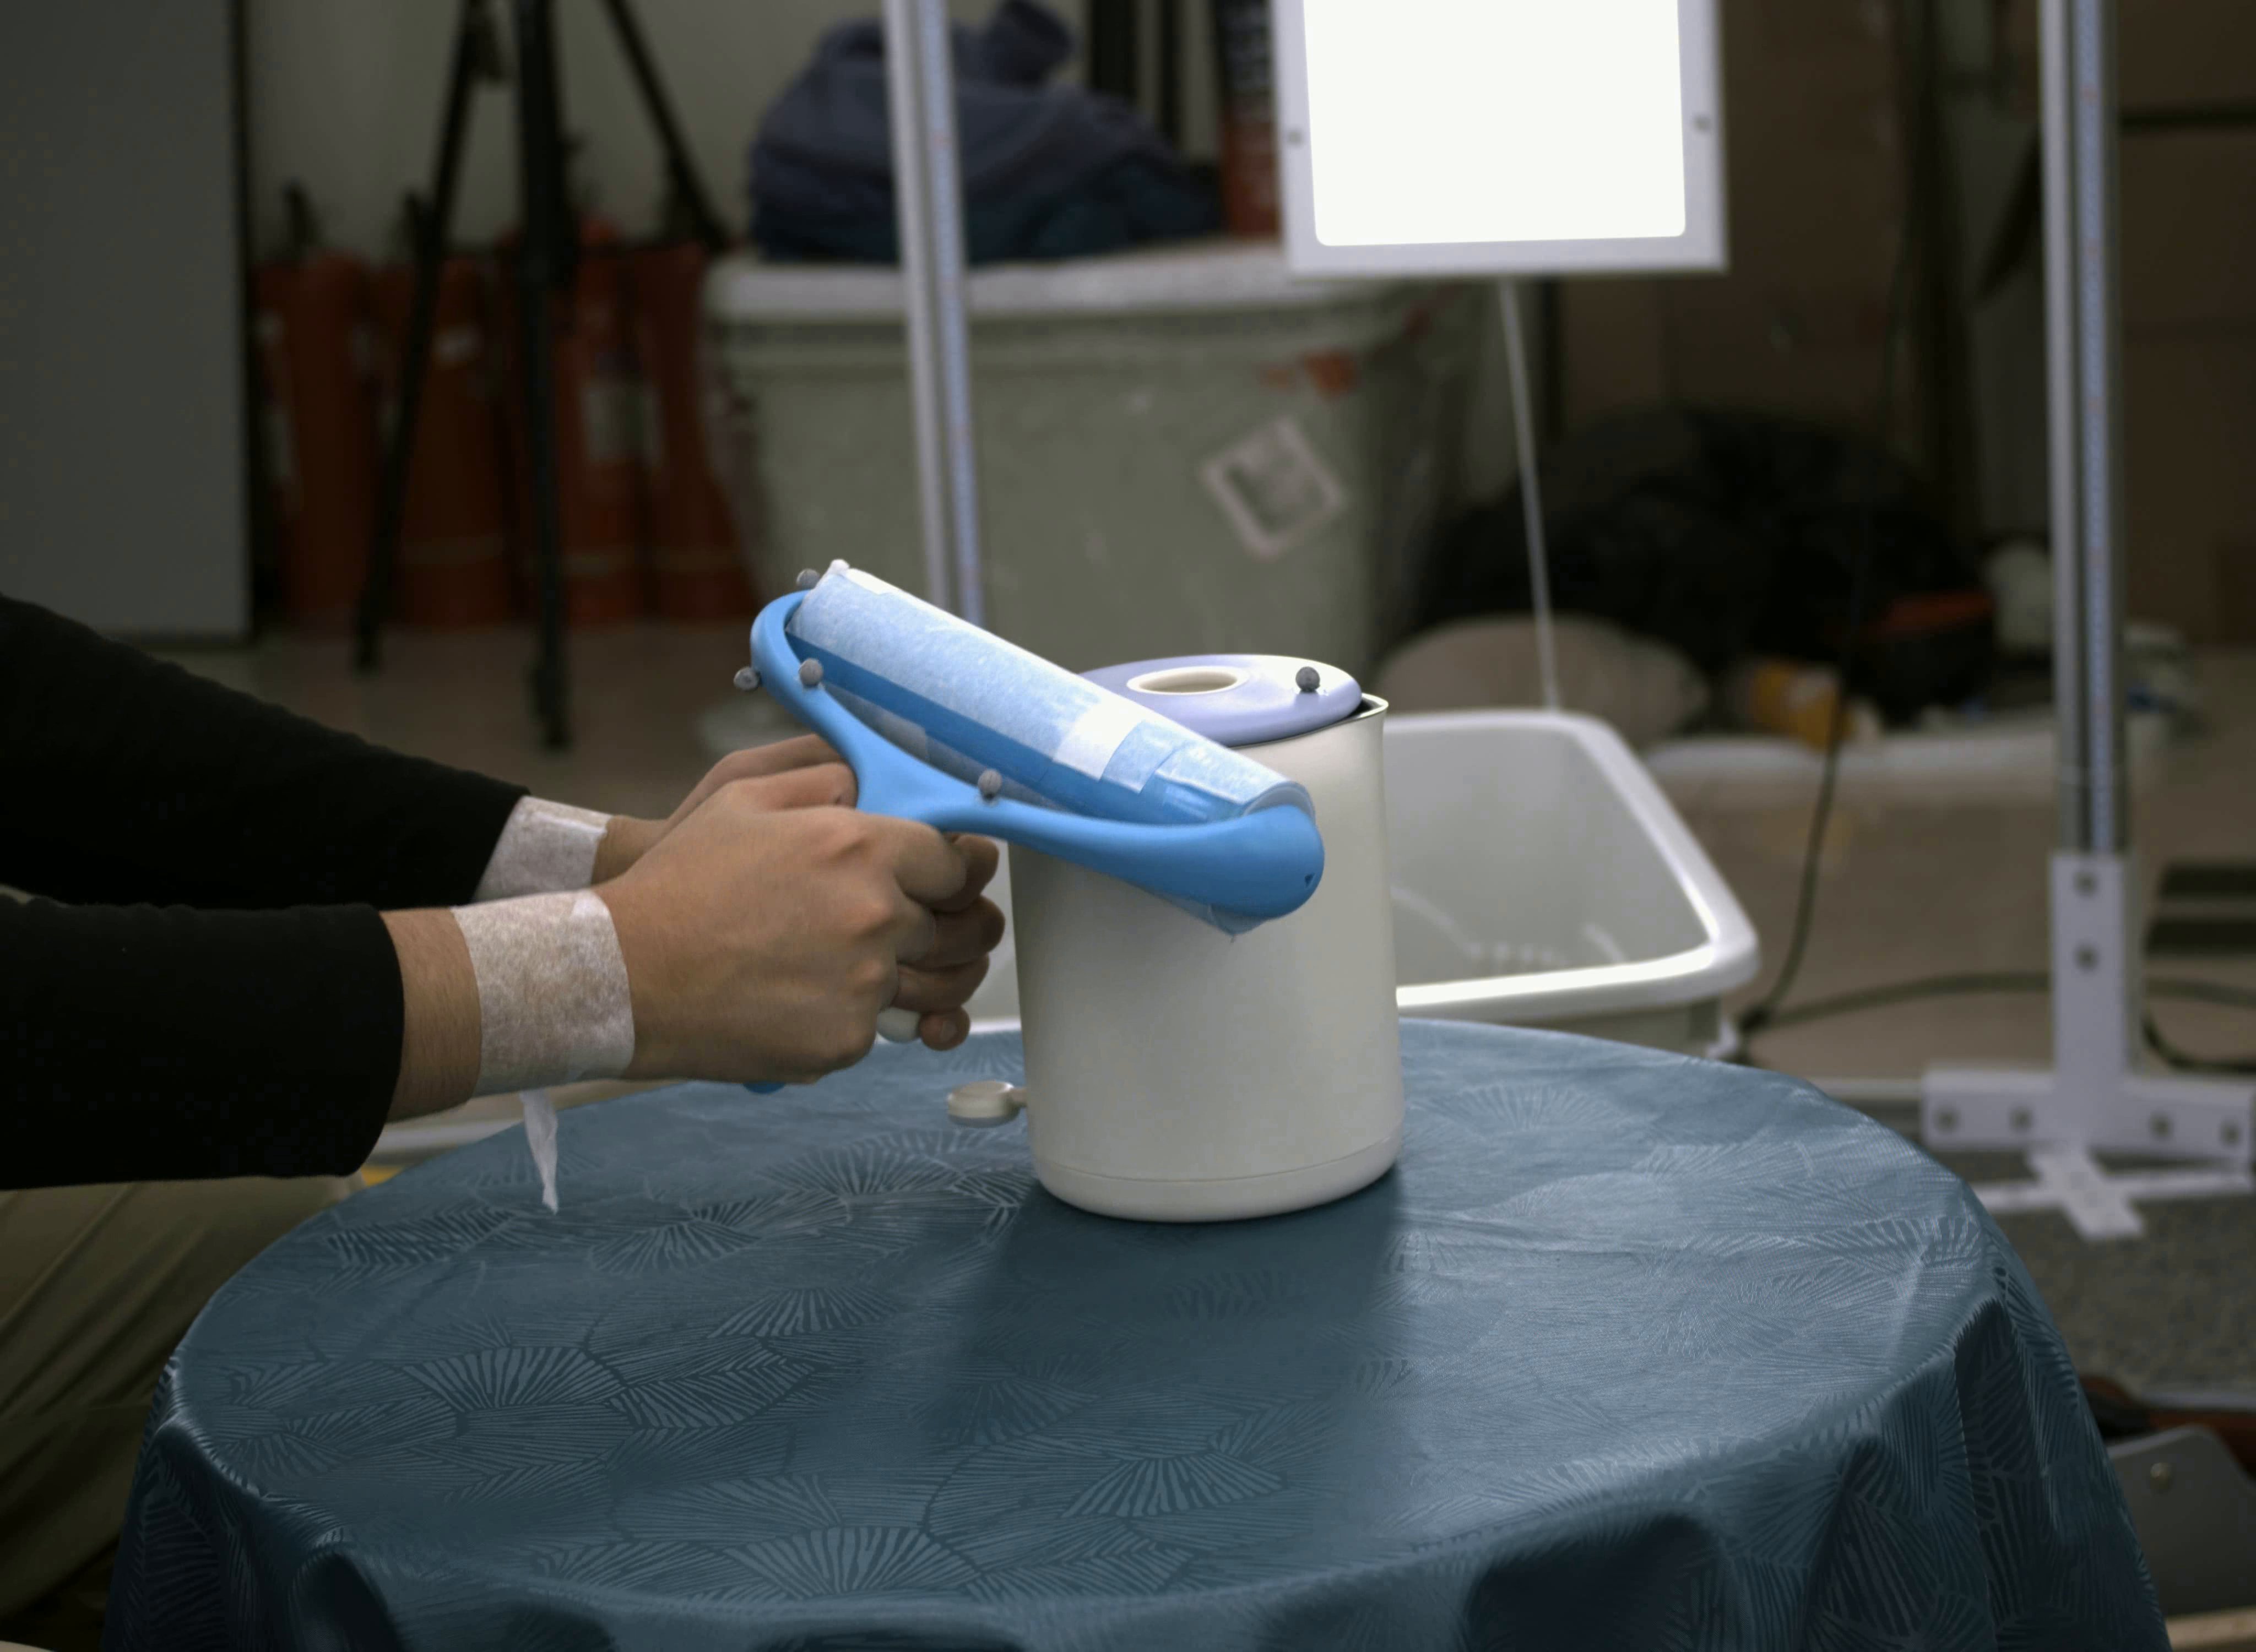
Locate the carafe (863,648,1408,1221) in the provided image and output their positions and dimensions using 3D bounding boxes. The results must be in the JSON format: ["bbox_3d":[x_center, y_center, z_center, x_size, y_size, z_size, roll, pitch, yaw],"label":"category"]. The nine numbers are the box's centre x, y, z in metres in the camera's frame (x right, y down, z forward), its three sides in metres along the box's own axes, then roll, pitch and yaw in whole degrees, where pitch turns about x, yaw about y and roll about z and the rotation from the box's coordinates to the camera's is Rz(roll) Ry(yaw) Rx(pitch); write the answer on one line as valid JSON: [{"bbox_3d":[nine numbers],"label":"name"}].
[{"bbox_3d":[0.002,0.038,1.895,0.192,0.183,0.131,-4,12,10],"label":"carafe"}]

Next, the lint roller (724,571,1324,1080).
[{"bbox_3d":[-0.066,0.008,1.780,0.232,0.068,0.177,26,53,32],"label":"lint roller"}]
